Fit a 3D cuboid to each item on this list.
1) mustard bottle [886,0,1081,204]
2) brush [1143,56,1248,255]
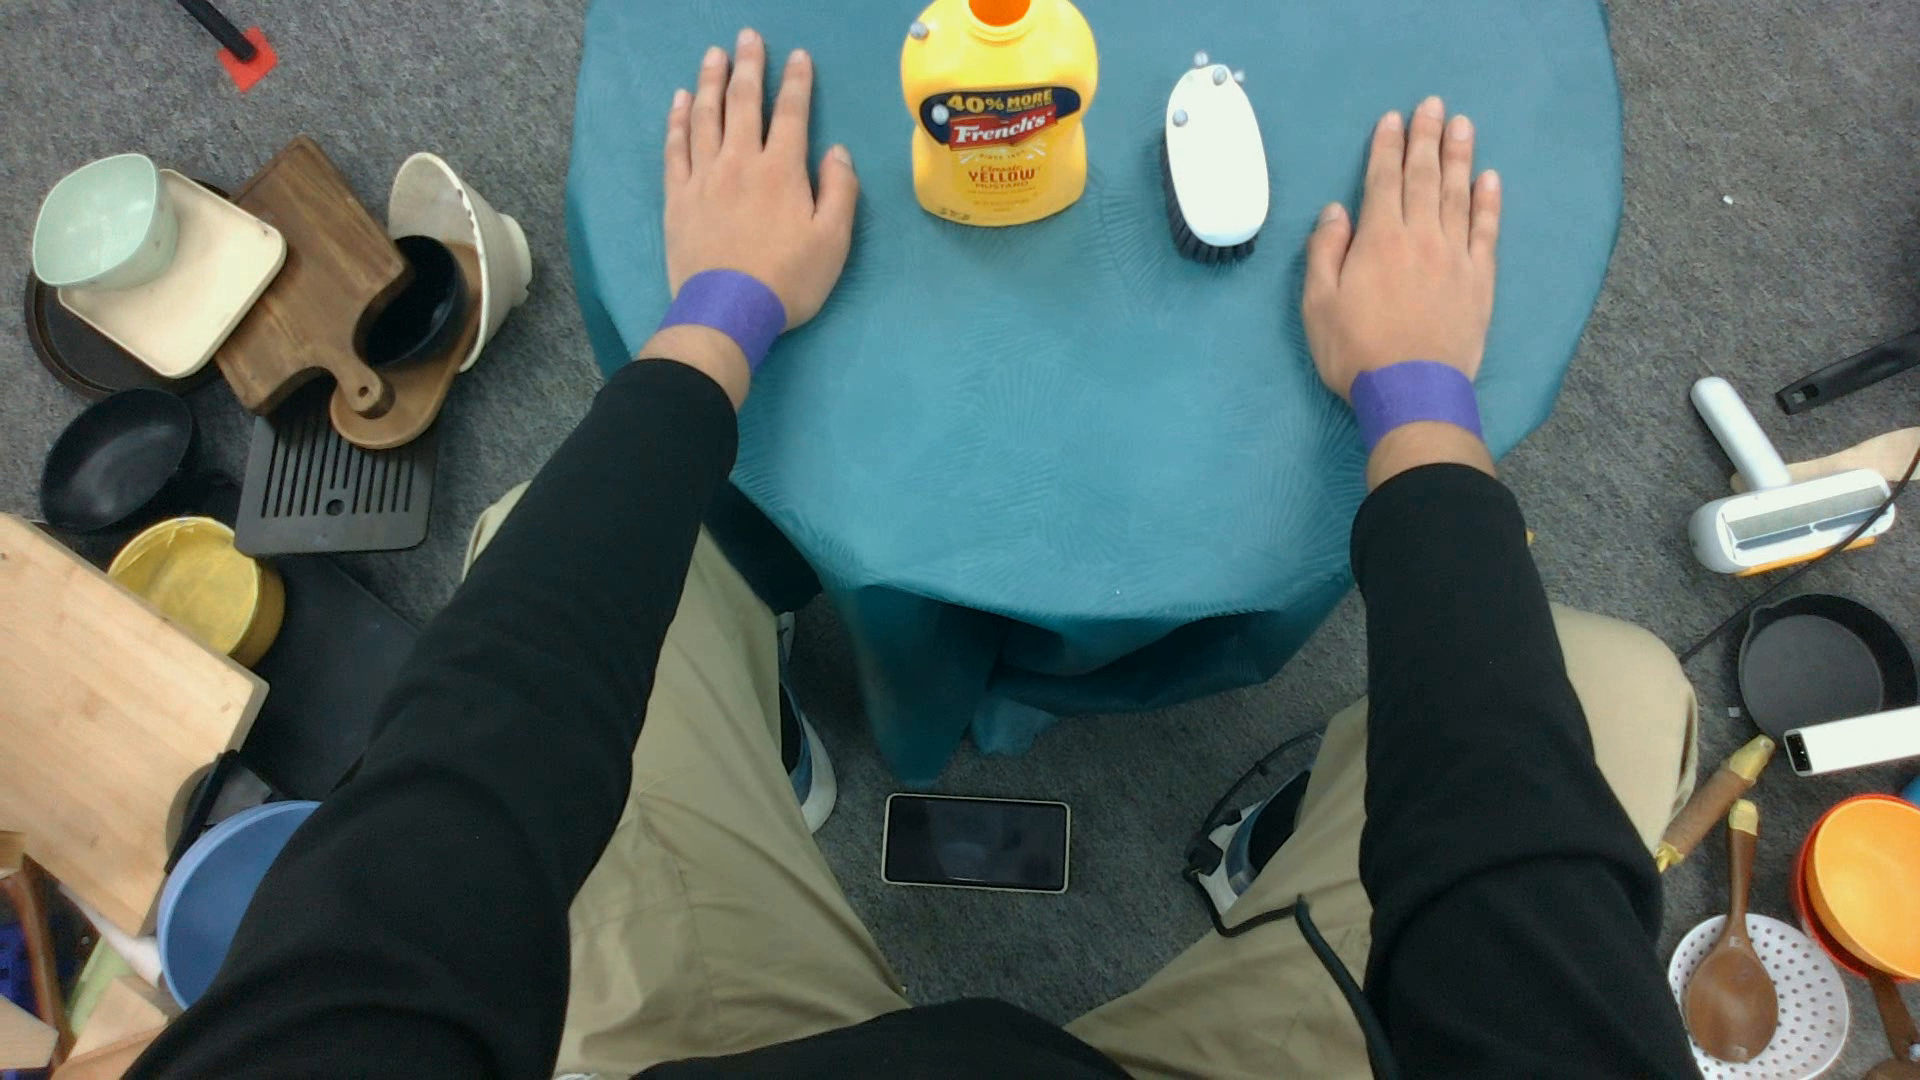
[{"bbox_3d":[0.013,-0.231,0.701,0.098,0.171,0.059,-8,81,-2],"label":"mustard bottle"},{"bbox_3d":[0.129,-0.214,0.743,0.050,0.072,0.099,-7,76,1],"label":"brush"}]
